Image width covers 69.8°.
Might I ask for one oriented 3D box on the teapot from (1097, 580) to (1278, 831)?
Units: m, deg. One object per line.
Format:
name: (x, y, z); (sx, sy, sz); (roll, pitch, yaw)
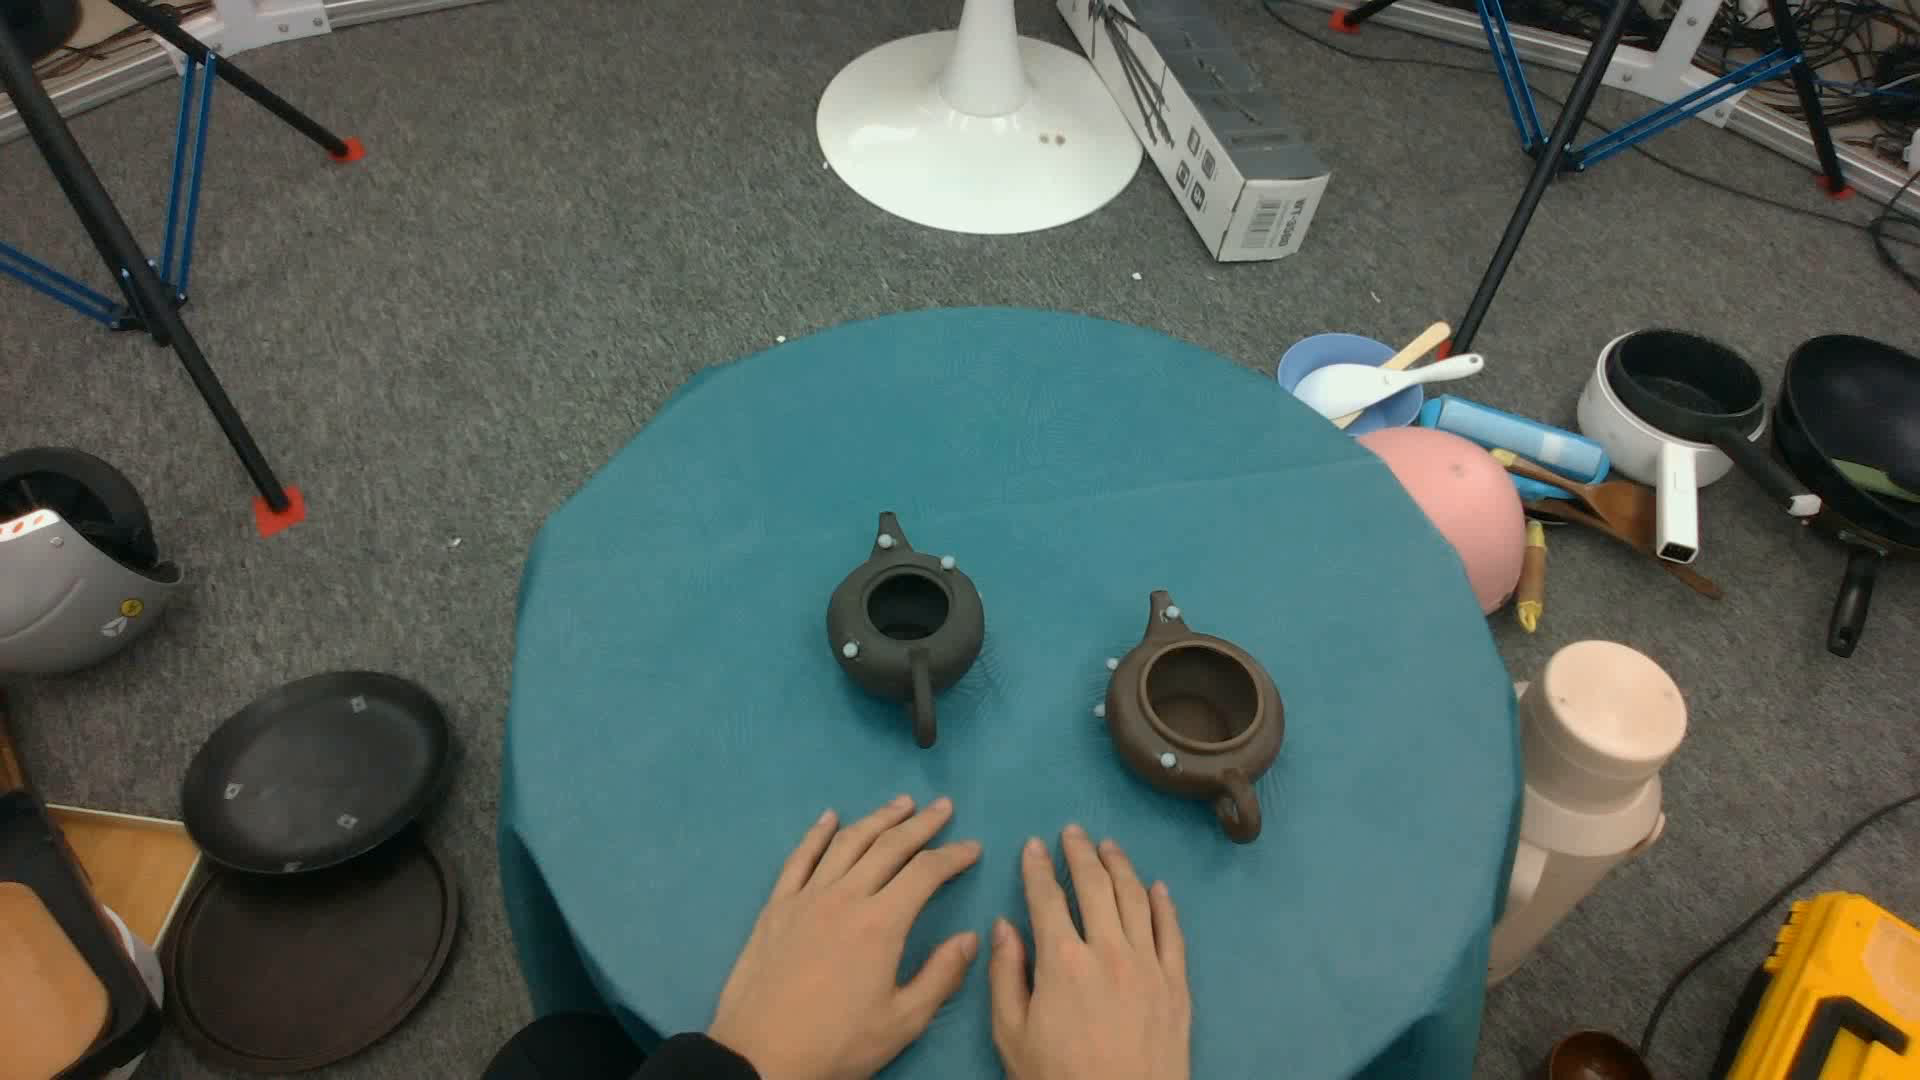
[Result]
teapot: (0.131, 0.095, 0.782); (0.103, 0.053, 0.154); (-17, 55, -14)

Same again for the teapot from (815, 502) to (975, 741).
teapot: (-0.037, 0.048, 0.799); (0.092, 0.064, 0.155); (-7, 53, -8)
